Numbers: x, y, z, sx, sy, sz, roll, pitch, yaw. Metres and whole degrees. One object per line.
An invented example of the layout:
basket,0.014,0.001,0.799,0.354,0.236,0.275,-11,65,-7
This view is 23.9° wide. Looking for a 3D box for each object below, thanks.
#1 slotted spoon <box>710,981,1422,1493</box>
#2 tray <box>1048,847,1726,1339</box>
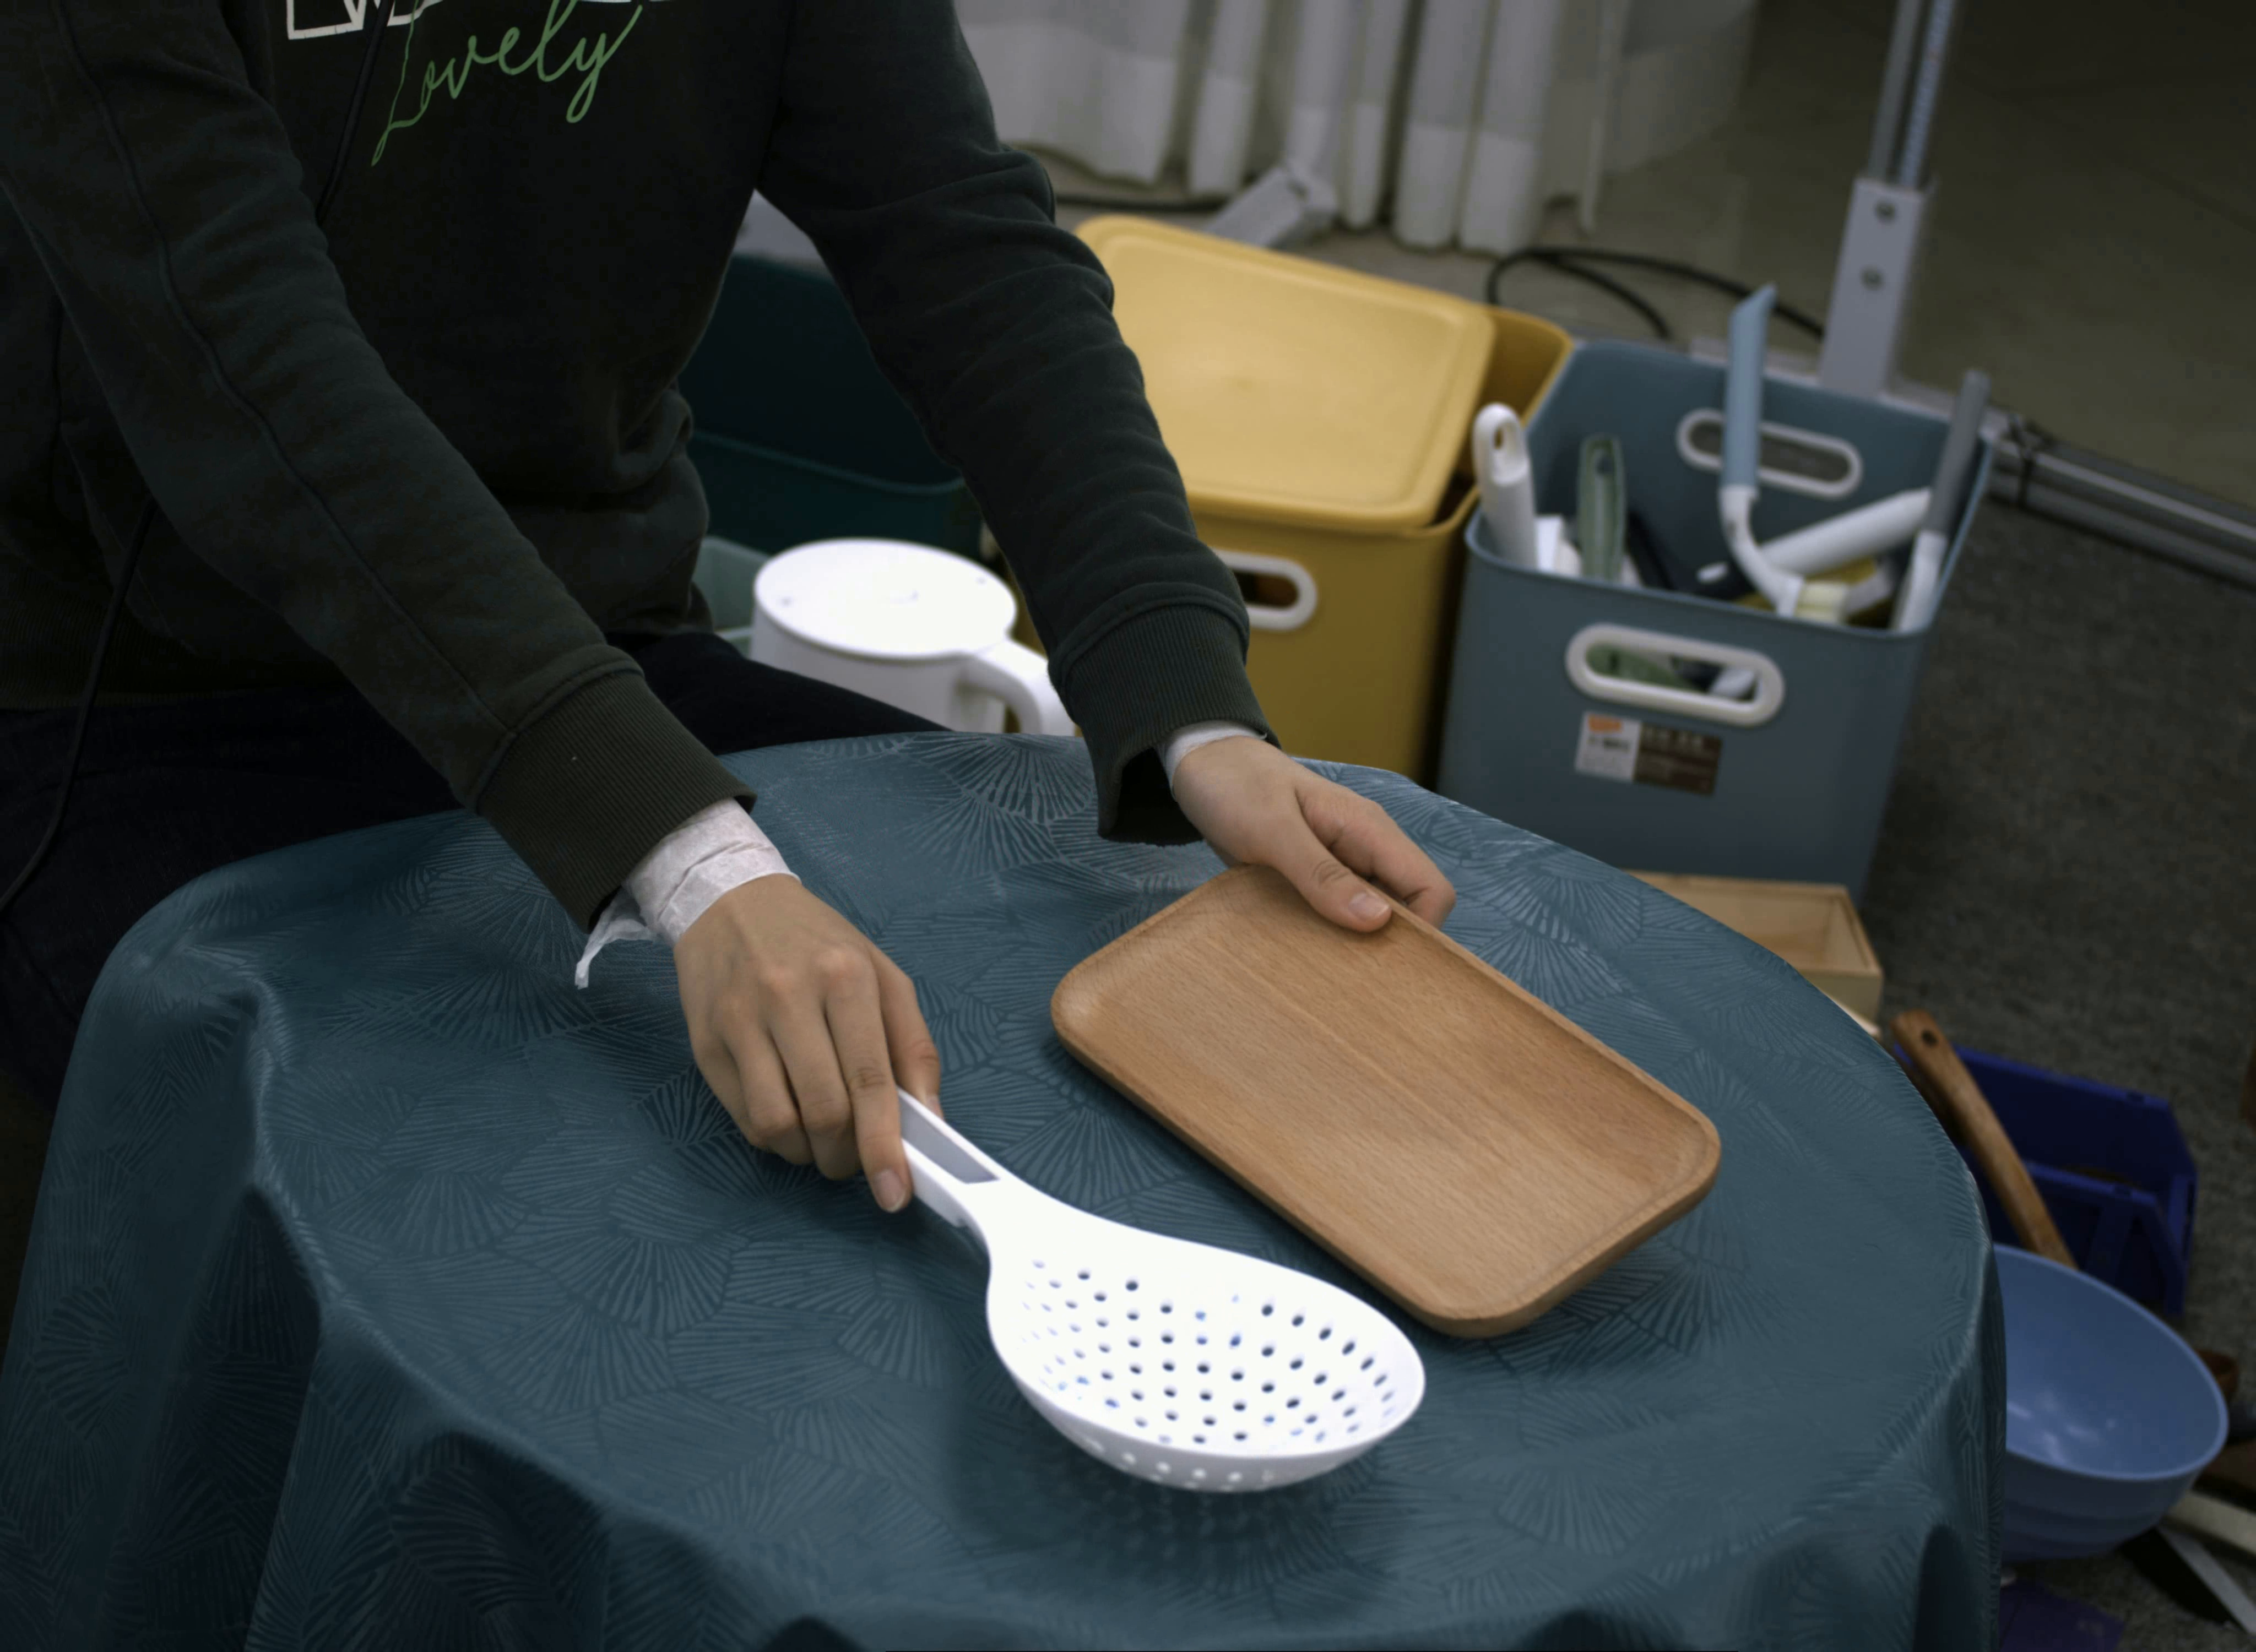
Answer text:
slotted spoon,-0.038,0.127,1.725,0.135,0.045,0.353,-7,31,-35
tray,0.086,0.089,1.828,0.130,0.023,0.253,-29,40,-24
